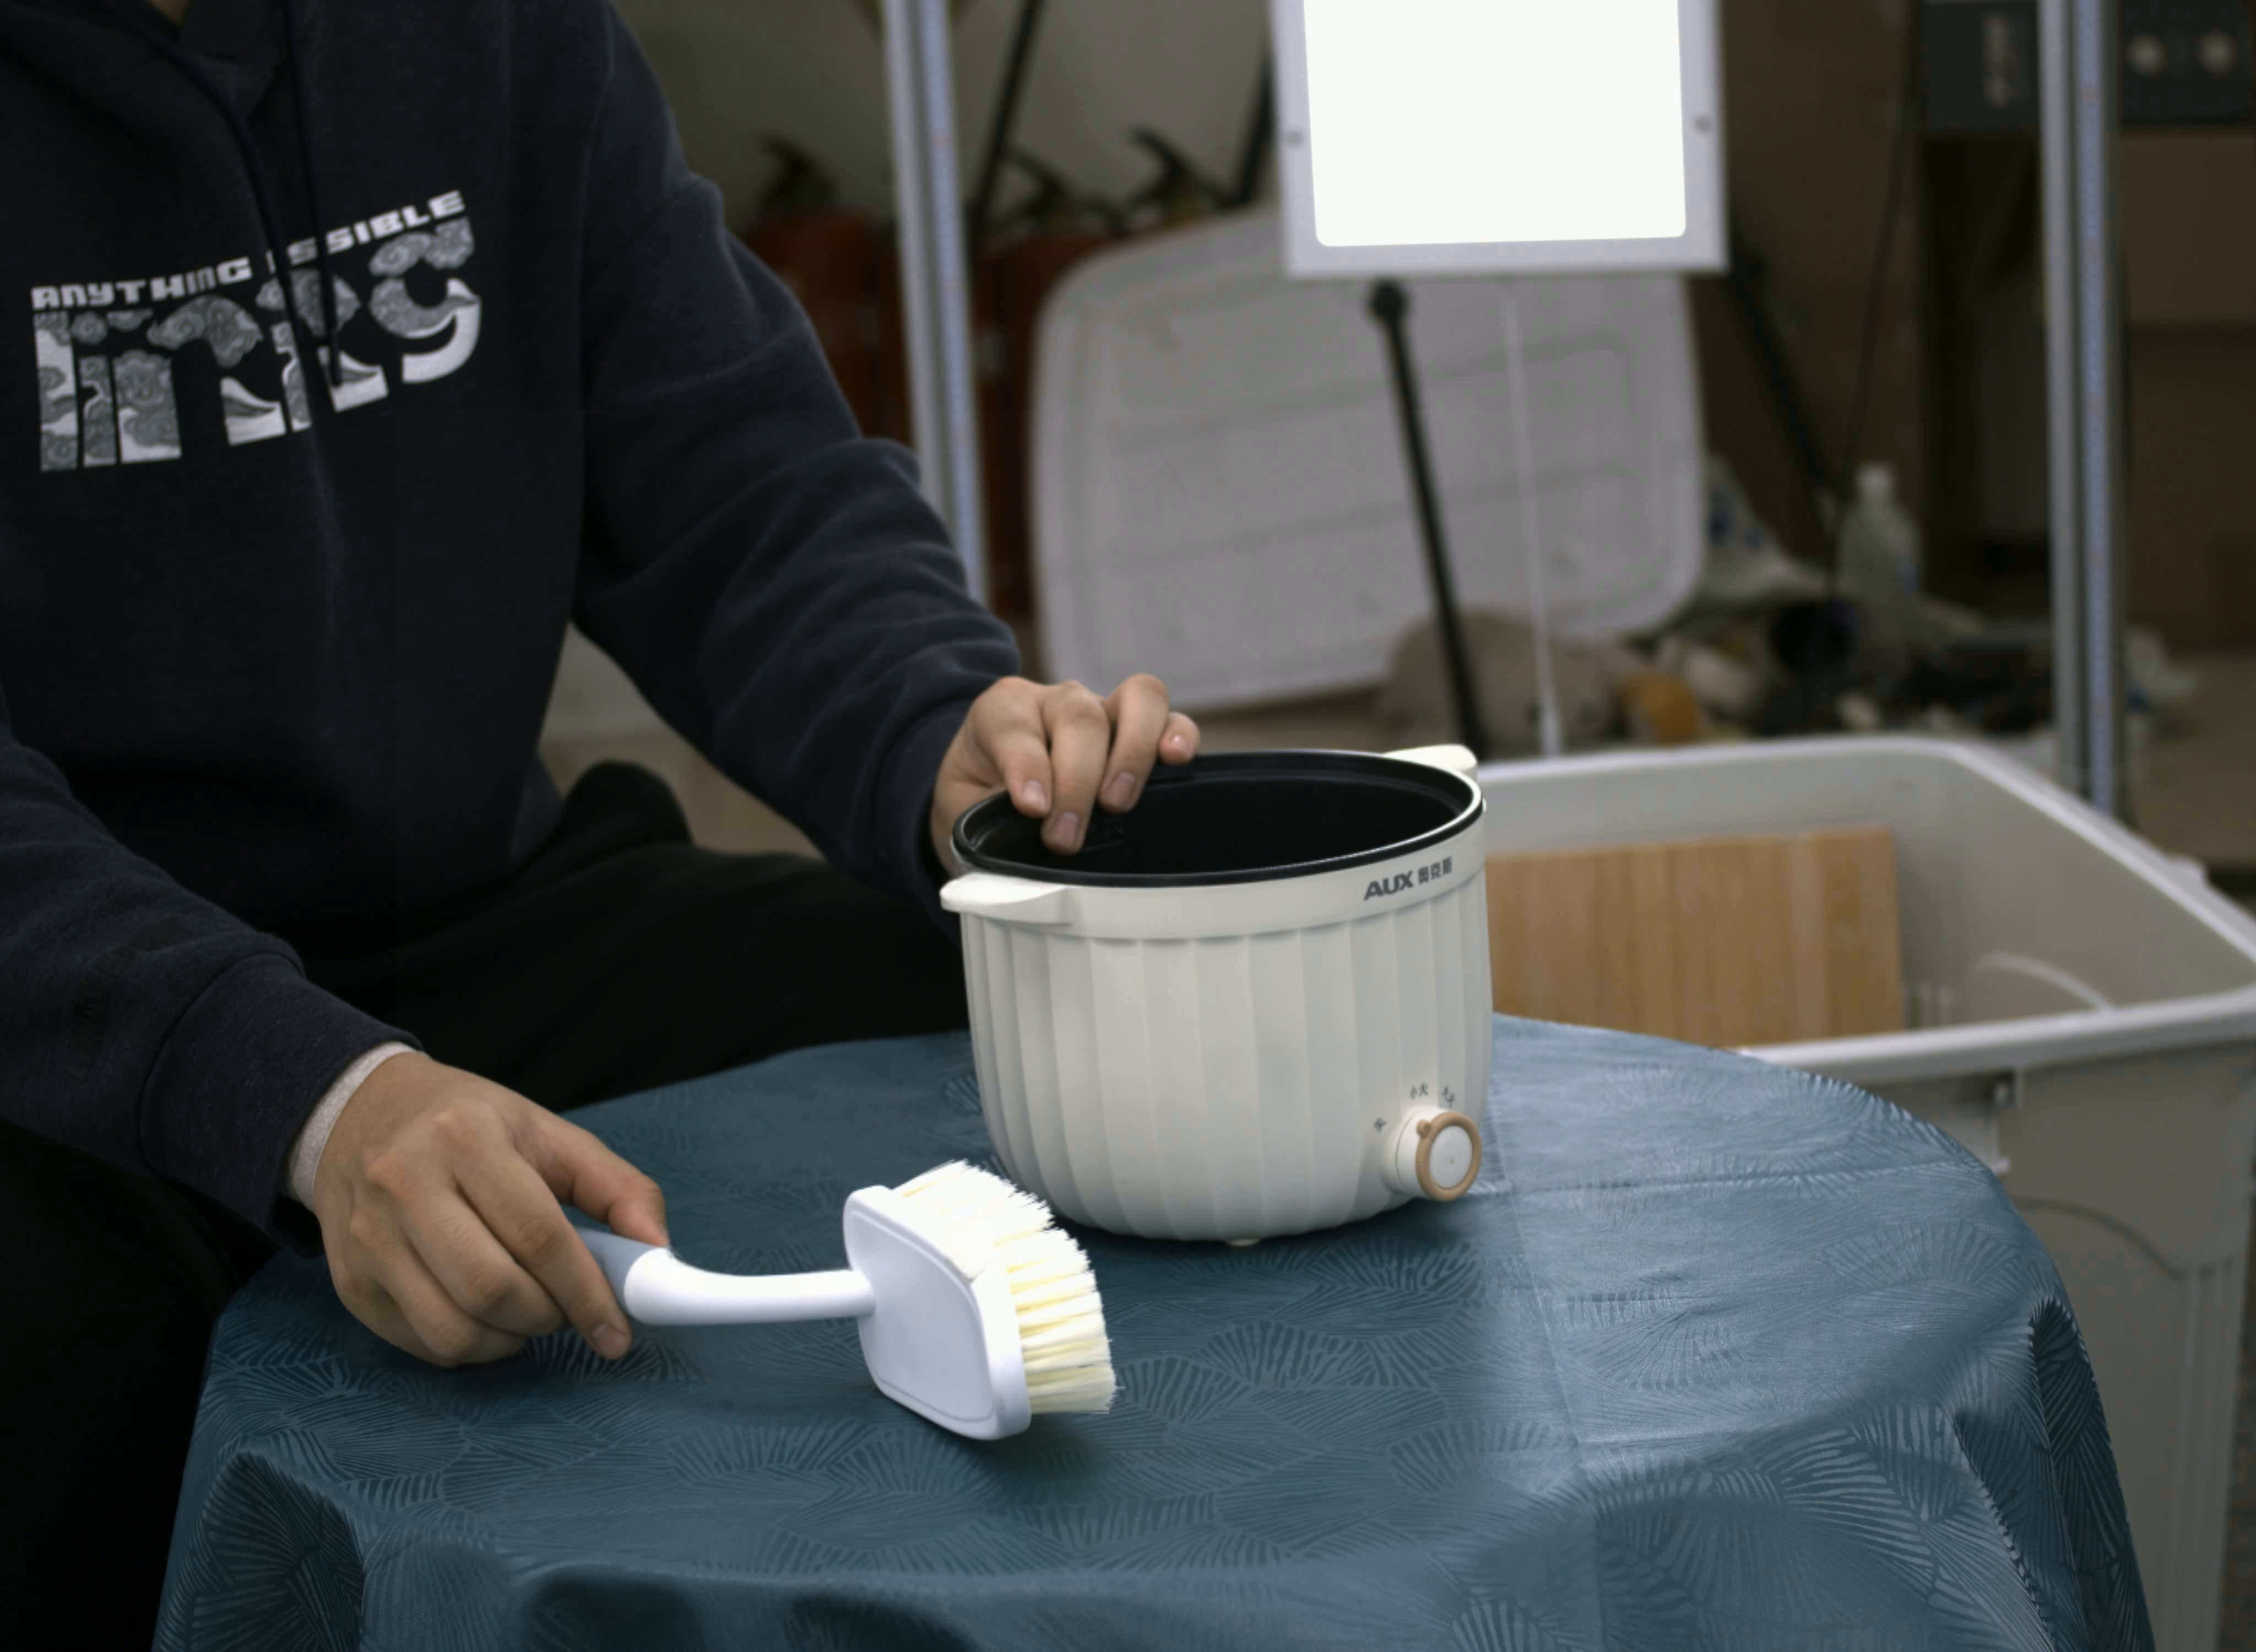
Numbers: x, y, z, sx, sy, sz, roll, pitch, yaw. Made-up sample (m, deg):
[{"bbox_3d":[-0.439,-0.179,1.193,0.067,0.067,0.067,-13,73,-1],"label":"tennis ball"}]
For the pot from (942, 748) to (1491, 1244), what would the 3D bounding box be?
[{"bbox_3d":[0.040,0.059,1.869,0.234,0.143,0.195,-18,15,-40],"label":"pot"}]

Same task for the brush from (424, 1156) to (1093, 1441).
[{"bbox_3d":[-0.107,0.134,1.750,0.083,0.083,0.332,30,-13,-35],"label":"brush"}]
